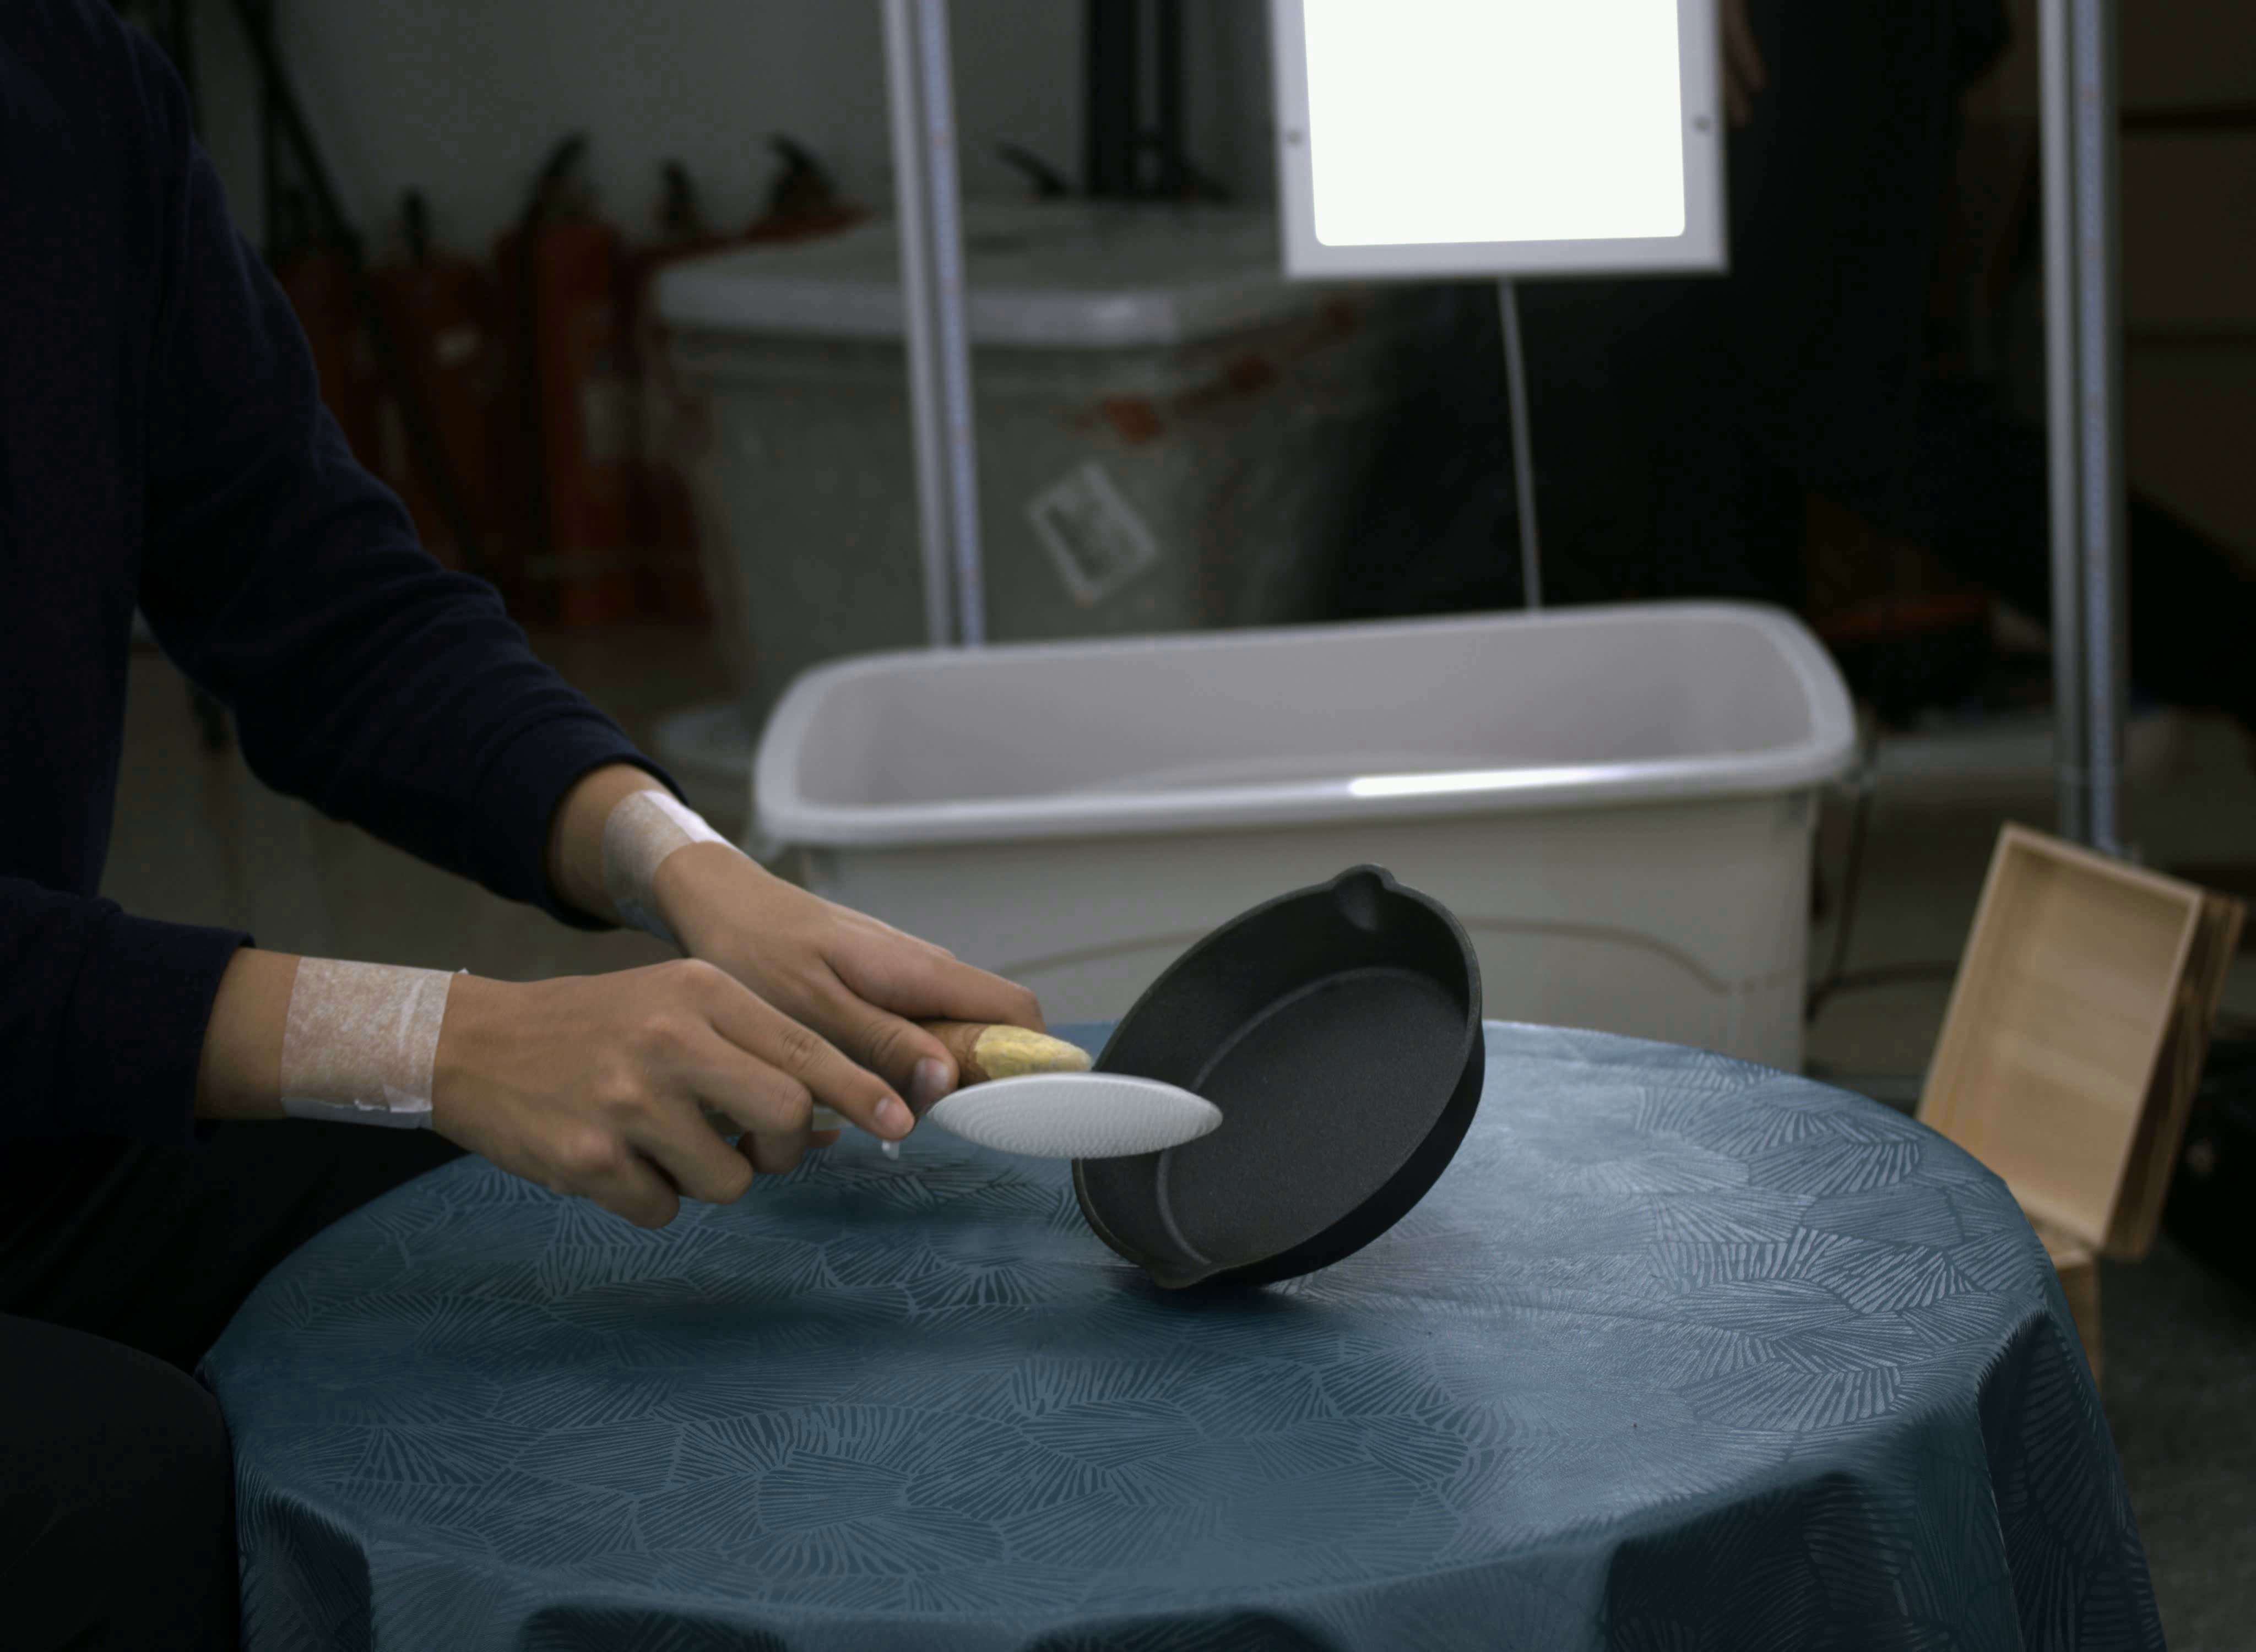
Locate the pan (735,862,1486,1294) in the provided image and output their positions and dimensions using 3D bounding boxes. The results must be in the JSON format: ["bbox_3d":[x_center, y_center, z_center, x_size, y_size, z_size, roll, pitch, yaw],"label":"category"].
[{"bbox_3d":[-0.010,0.082,1.867,0.331,0.049,0.167,3,56,44],"label":"pan"}]

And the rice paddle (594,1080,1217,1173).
[{"bbox_3d":[-0.071,0.095,1.787,0.207,0.029,0.068,-2,-16,14],"label":"rice paddle"}]
